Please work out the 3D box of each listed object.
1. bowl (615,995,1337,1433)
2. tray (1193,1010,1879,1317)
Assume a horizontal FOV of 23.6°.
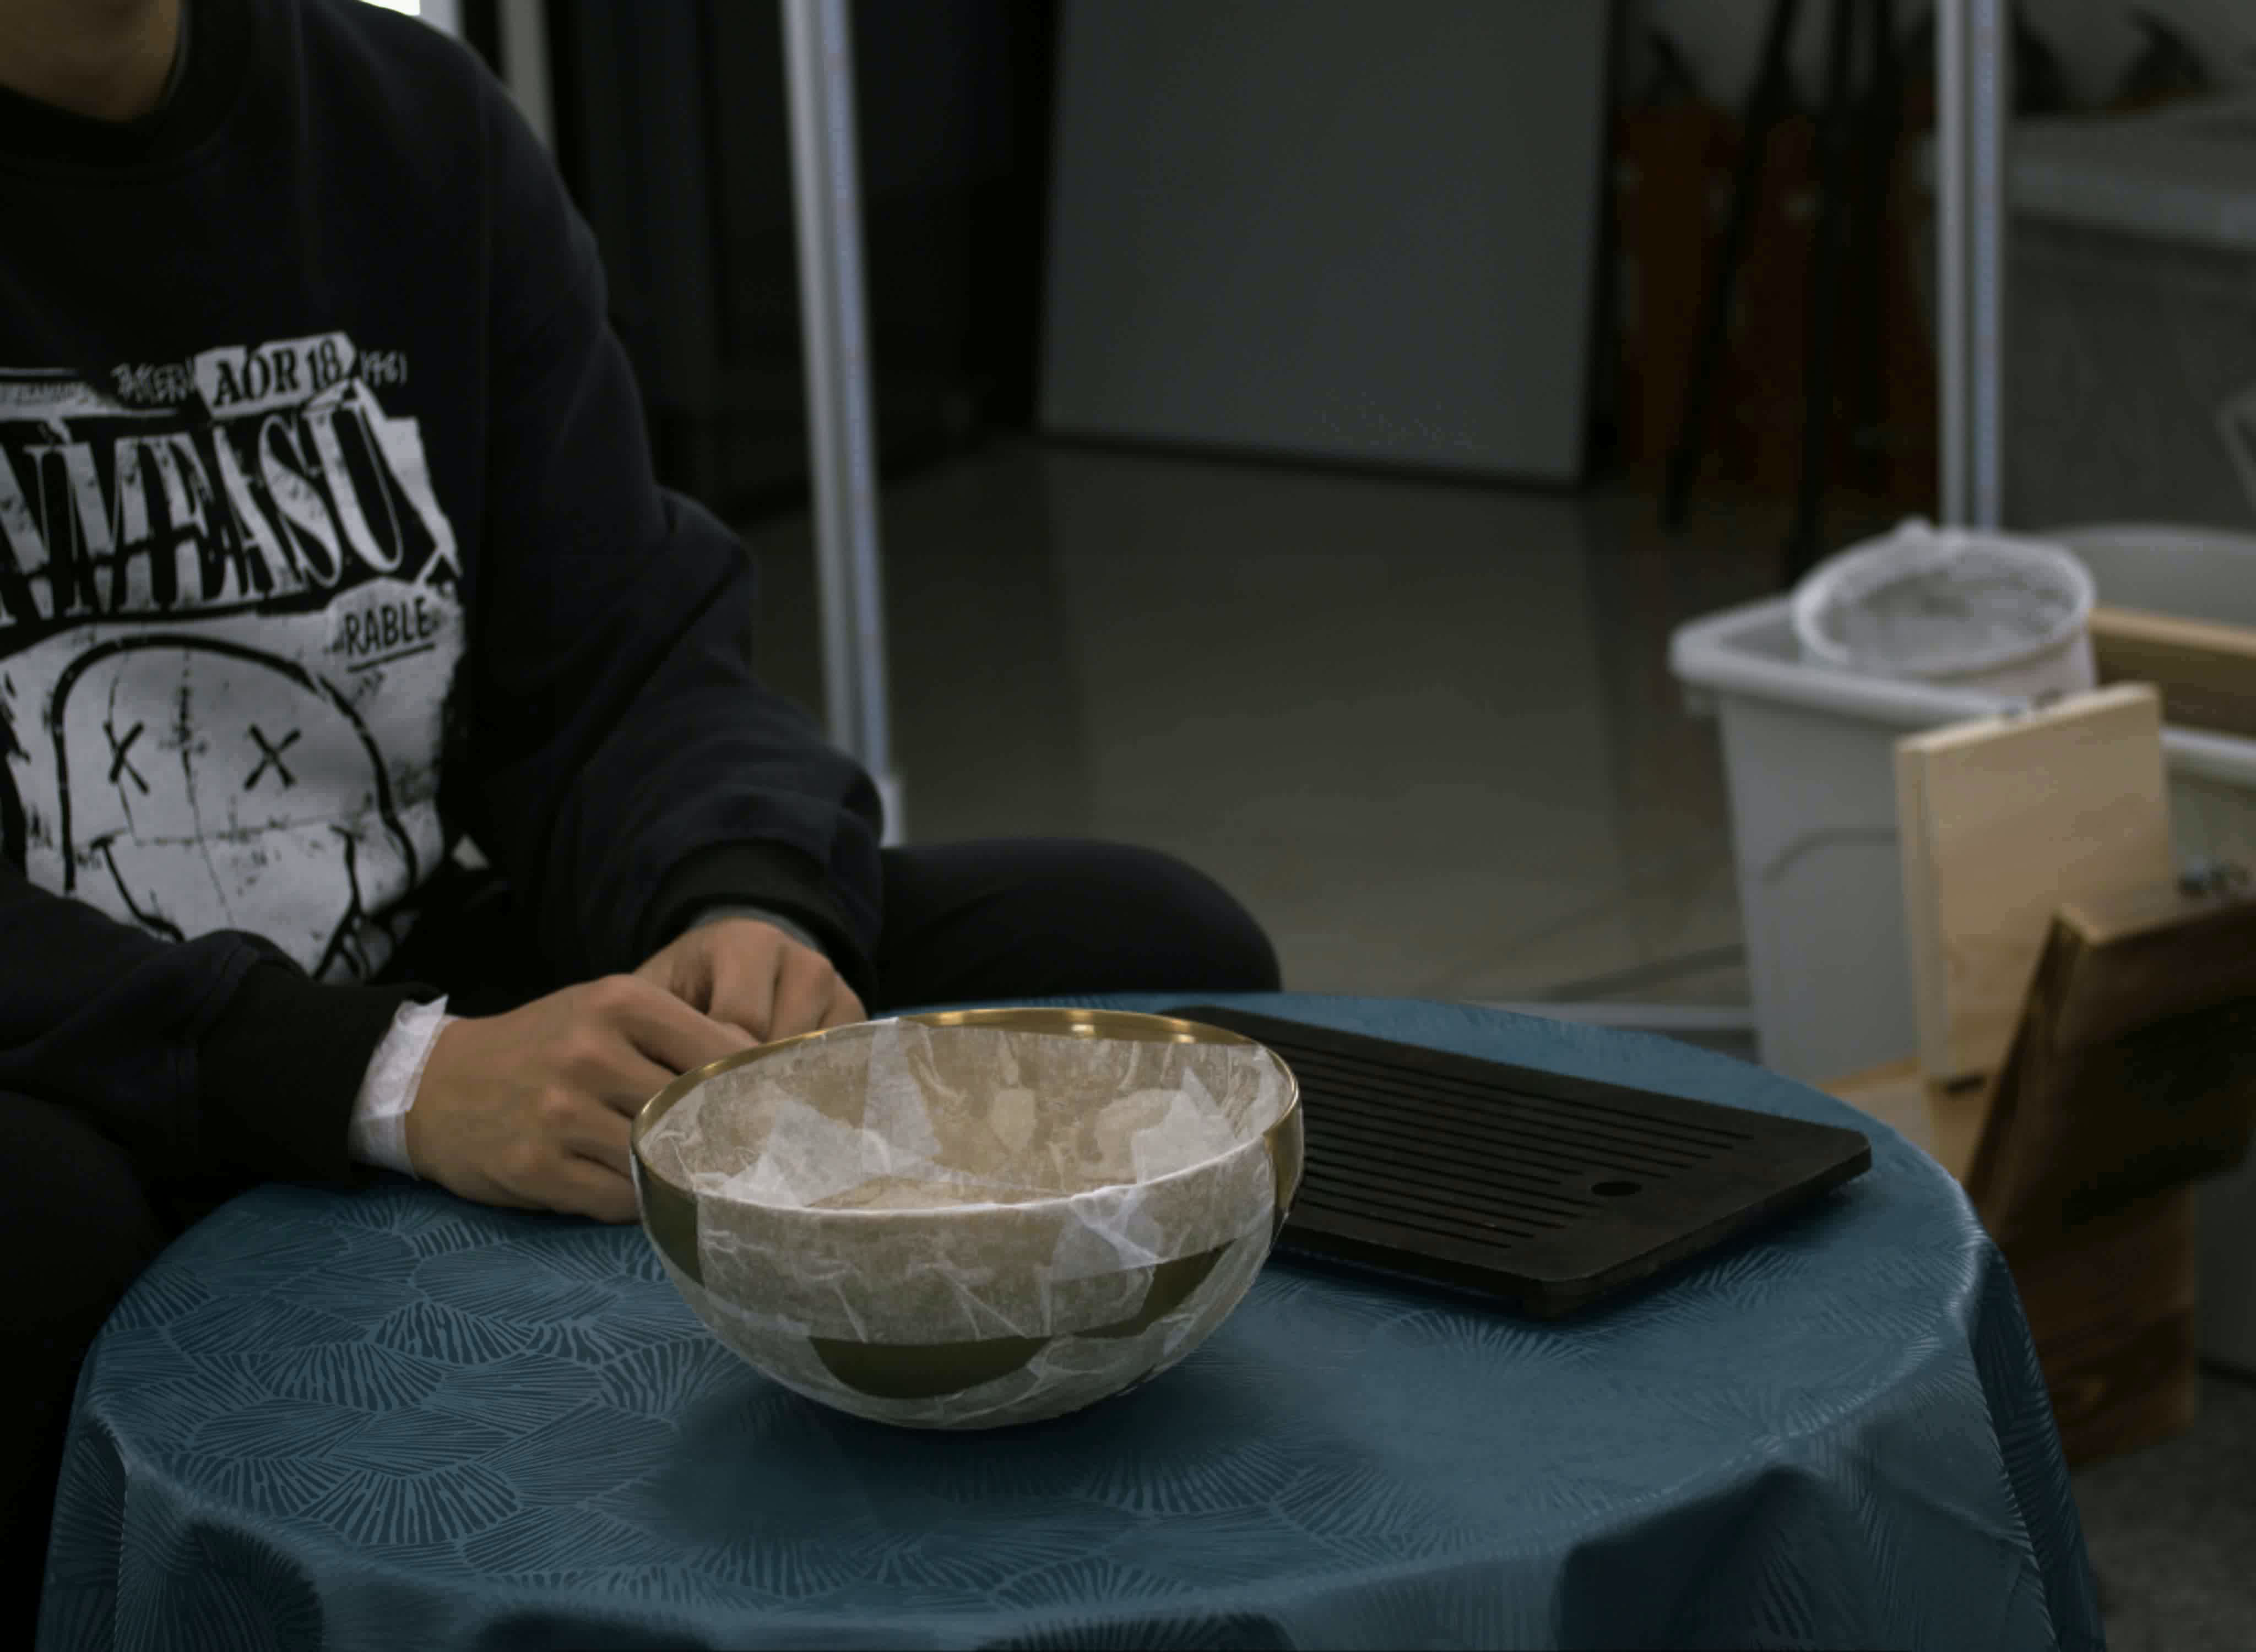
[{"bbox_3d":[-0.043,0.122,1.587,0.212,0.095,0.215,-5,14,0],"label":"bowl"},{"bbox_3d":[0.080,0.108,1.766,0.308,0.019,0.167,9,19,43],"label":"tray"}]
